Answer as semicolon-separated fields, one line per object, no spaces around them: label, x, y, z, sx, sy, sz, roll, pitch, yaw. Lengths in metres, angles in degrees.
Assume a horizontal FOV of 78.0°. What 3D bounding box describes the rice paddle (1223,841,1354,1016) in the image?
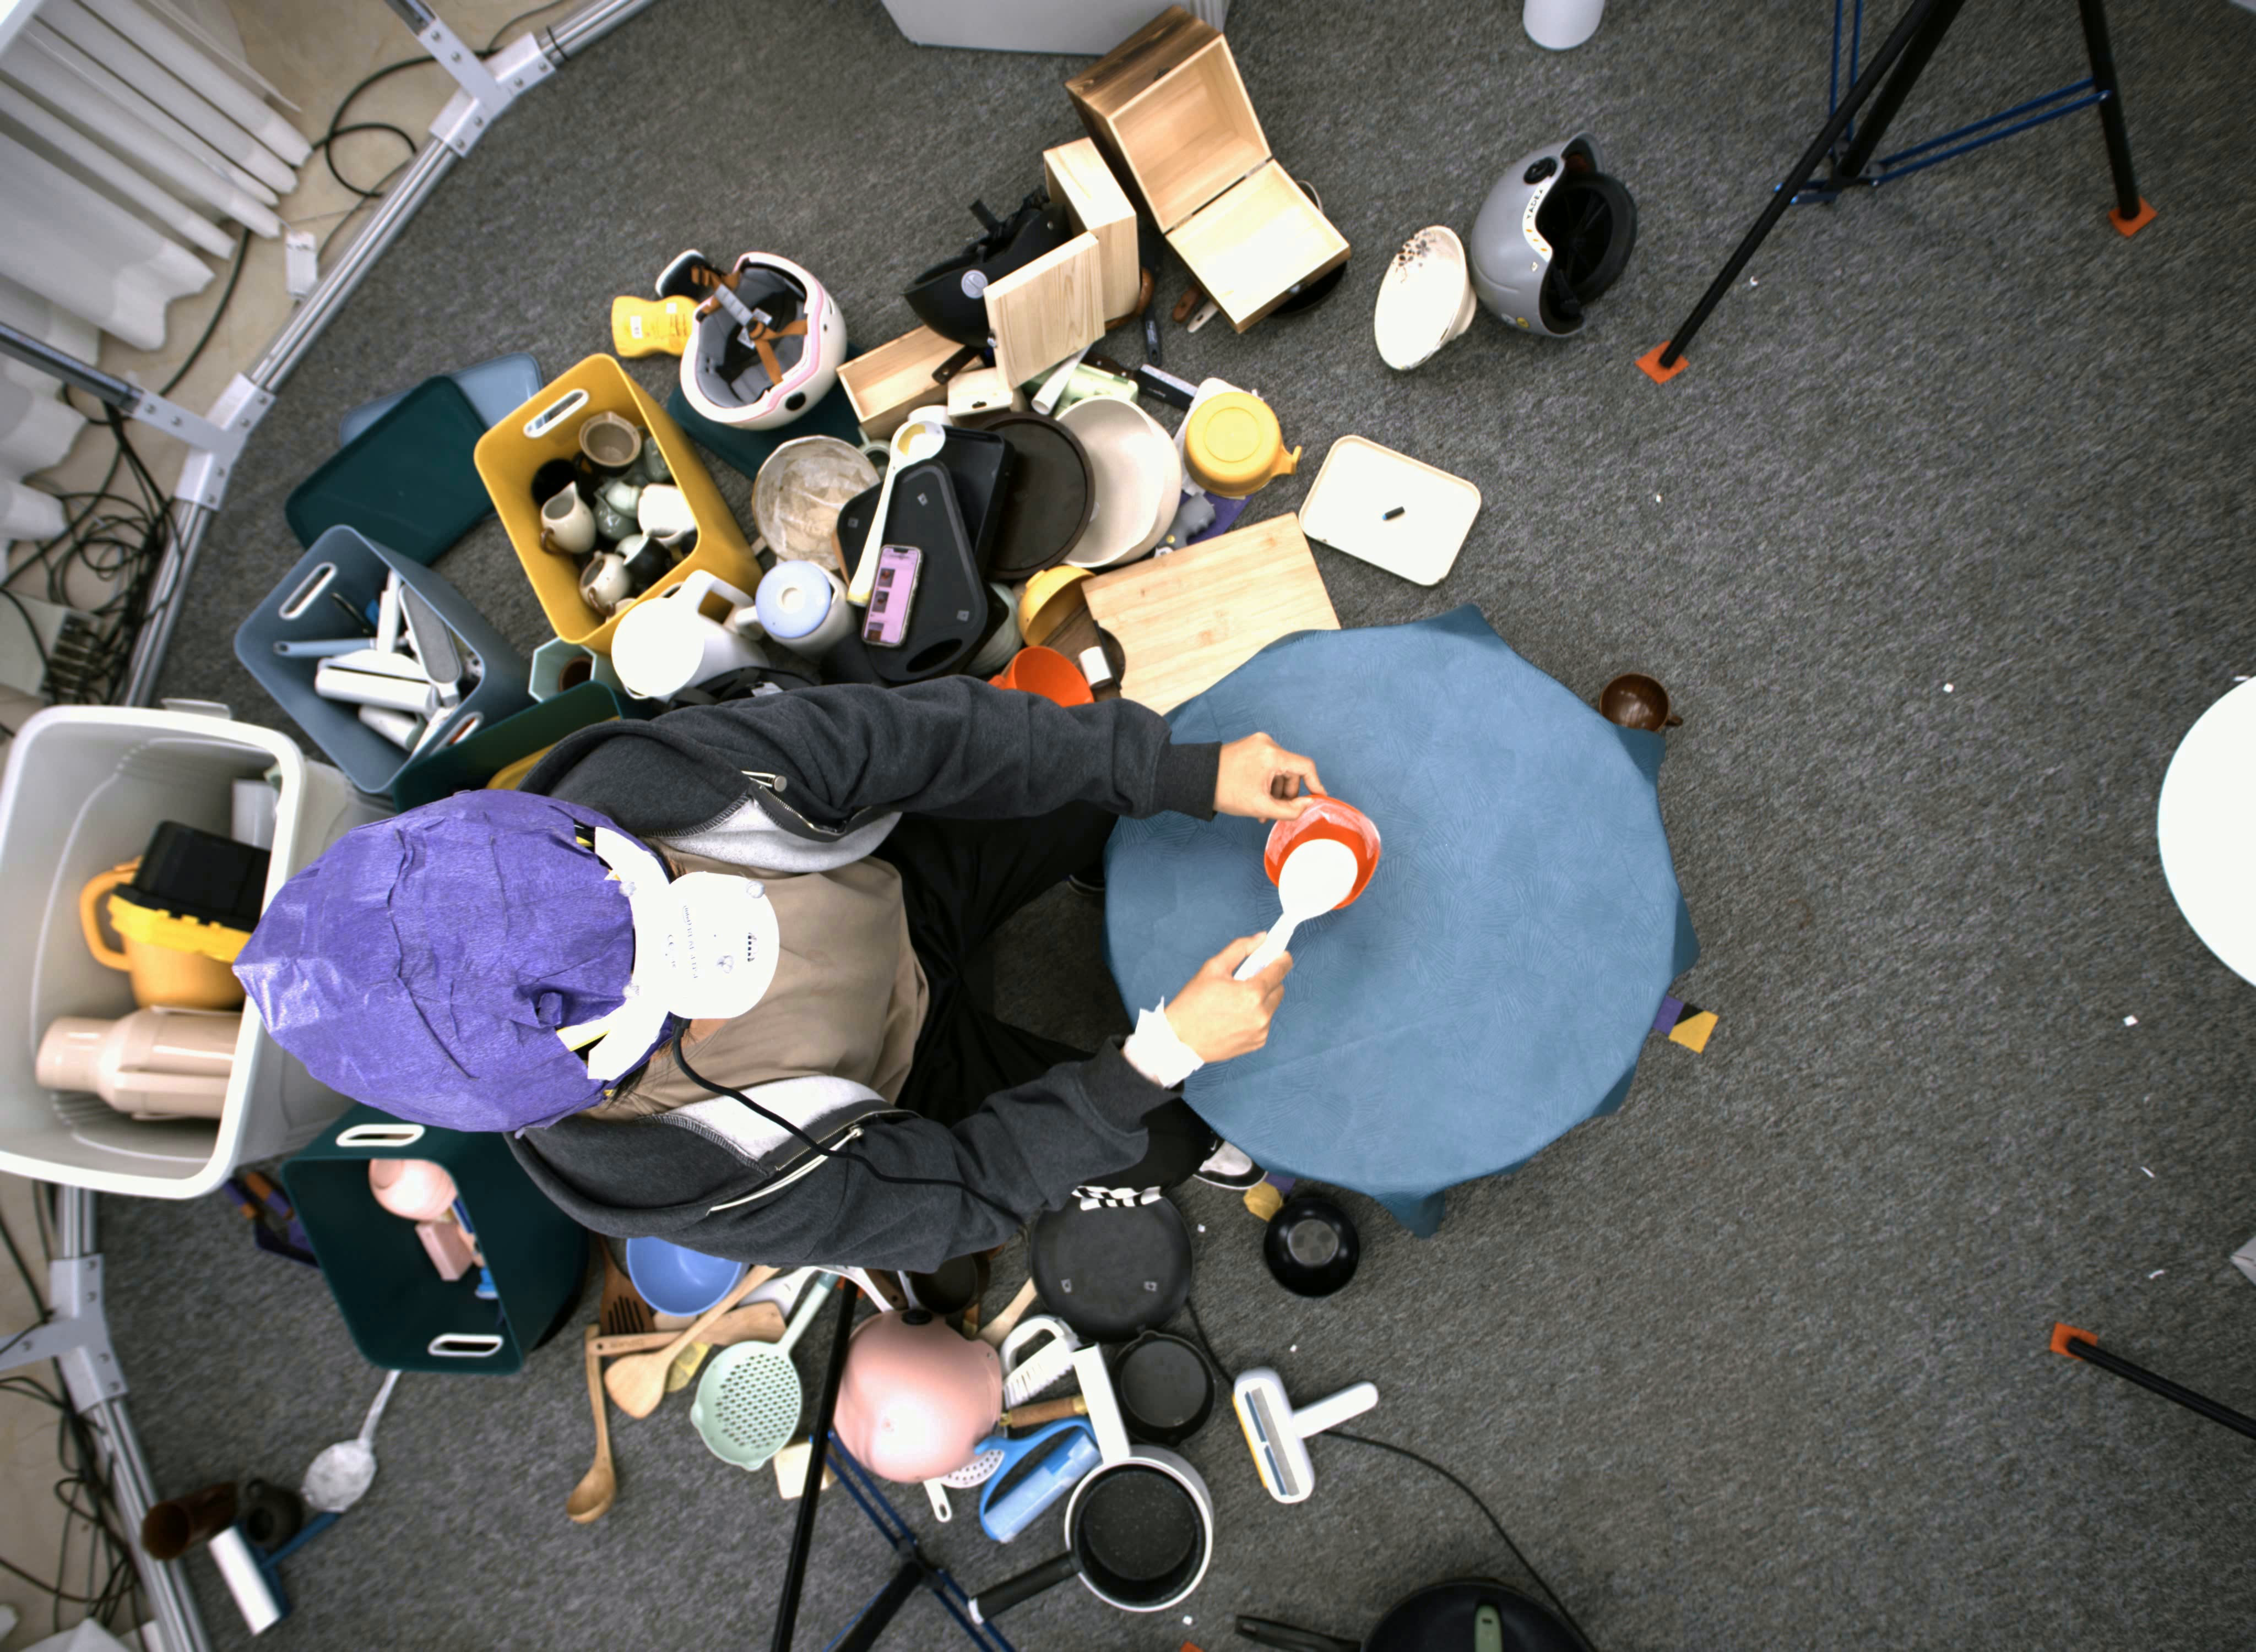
rice paddle;0.151;0.089;1.309;0.068;0.030;0.201;26;63;19

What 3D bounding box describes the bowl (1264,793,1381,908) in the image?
bowl;0.197;0.021;1.397;0.119;0.051;0.120;2;100;11
